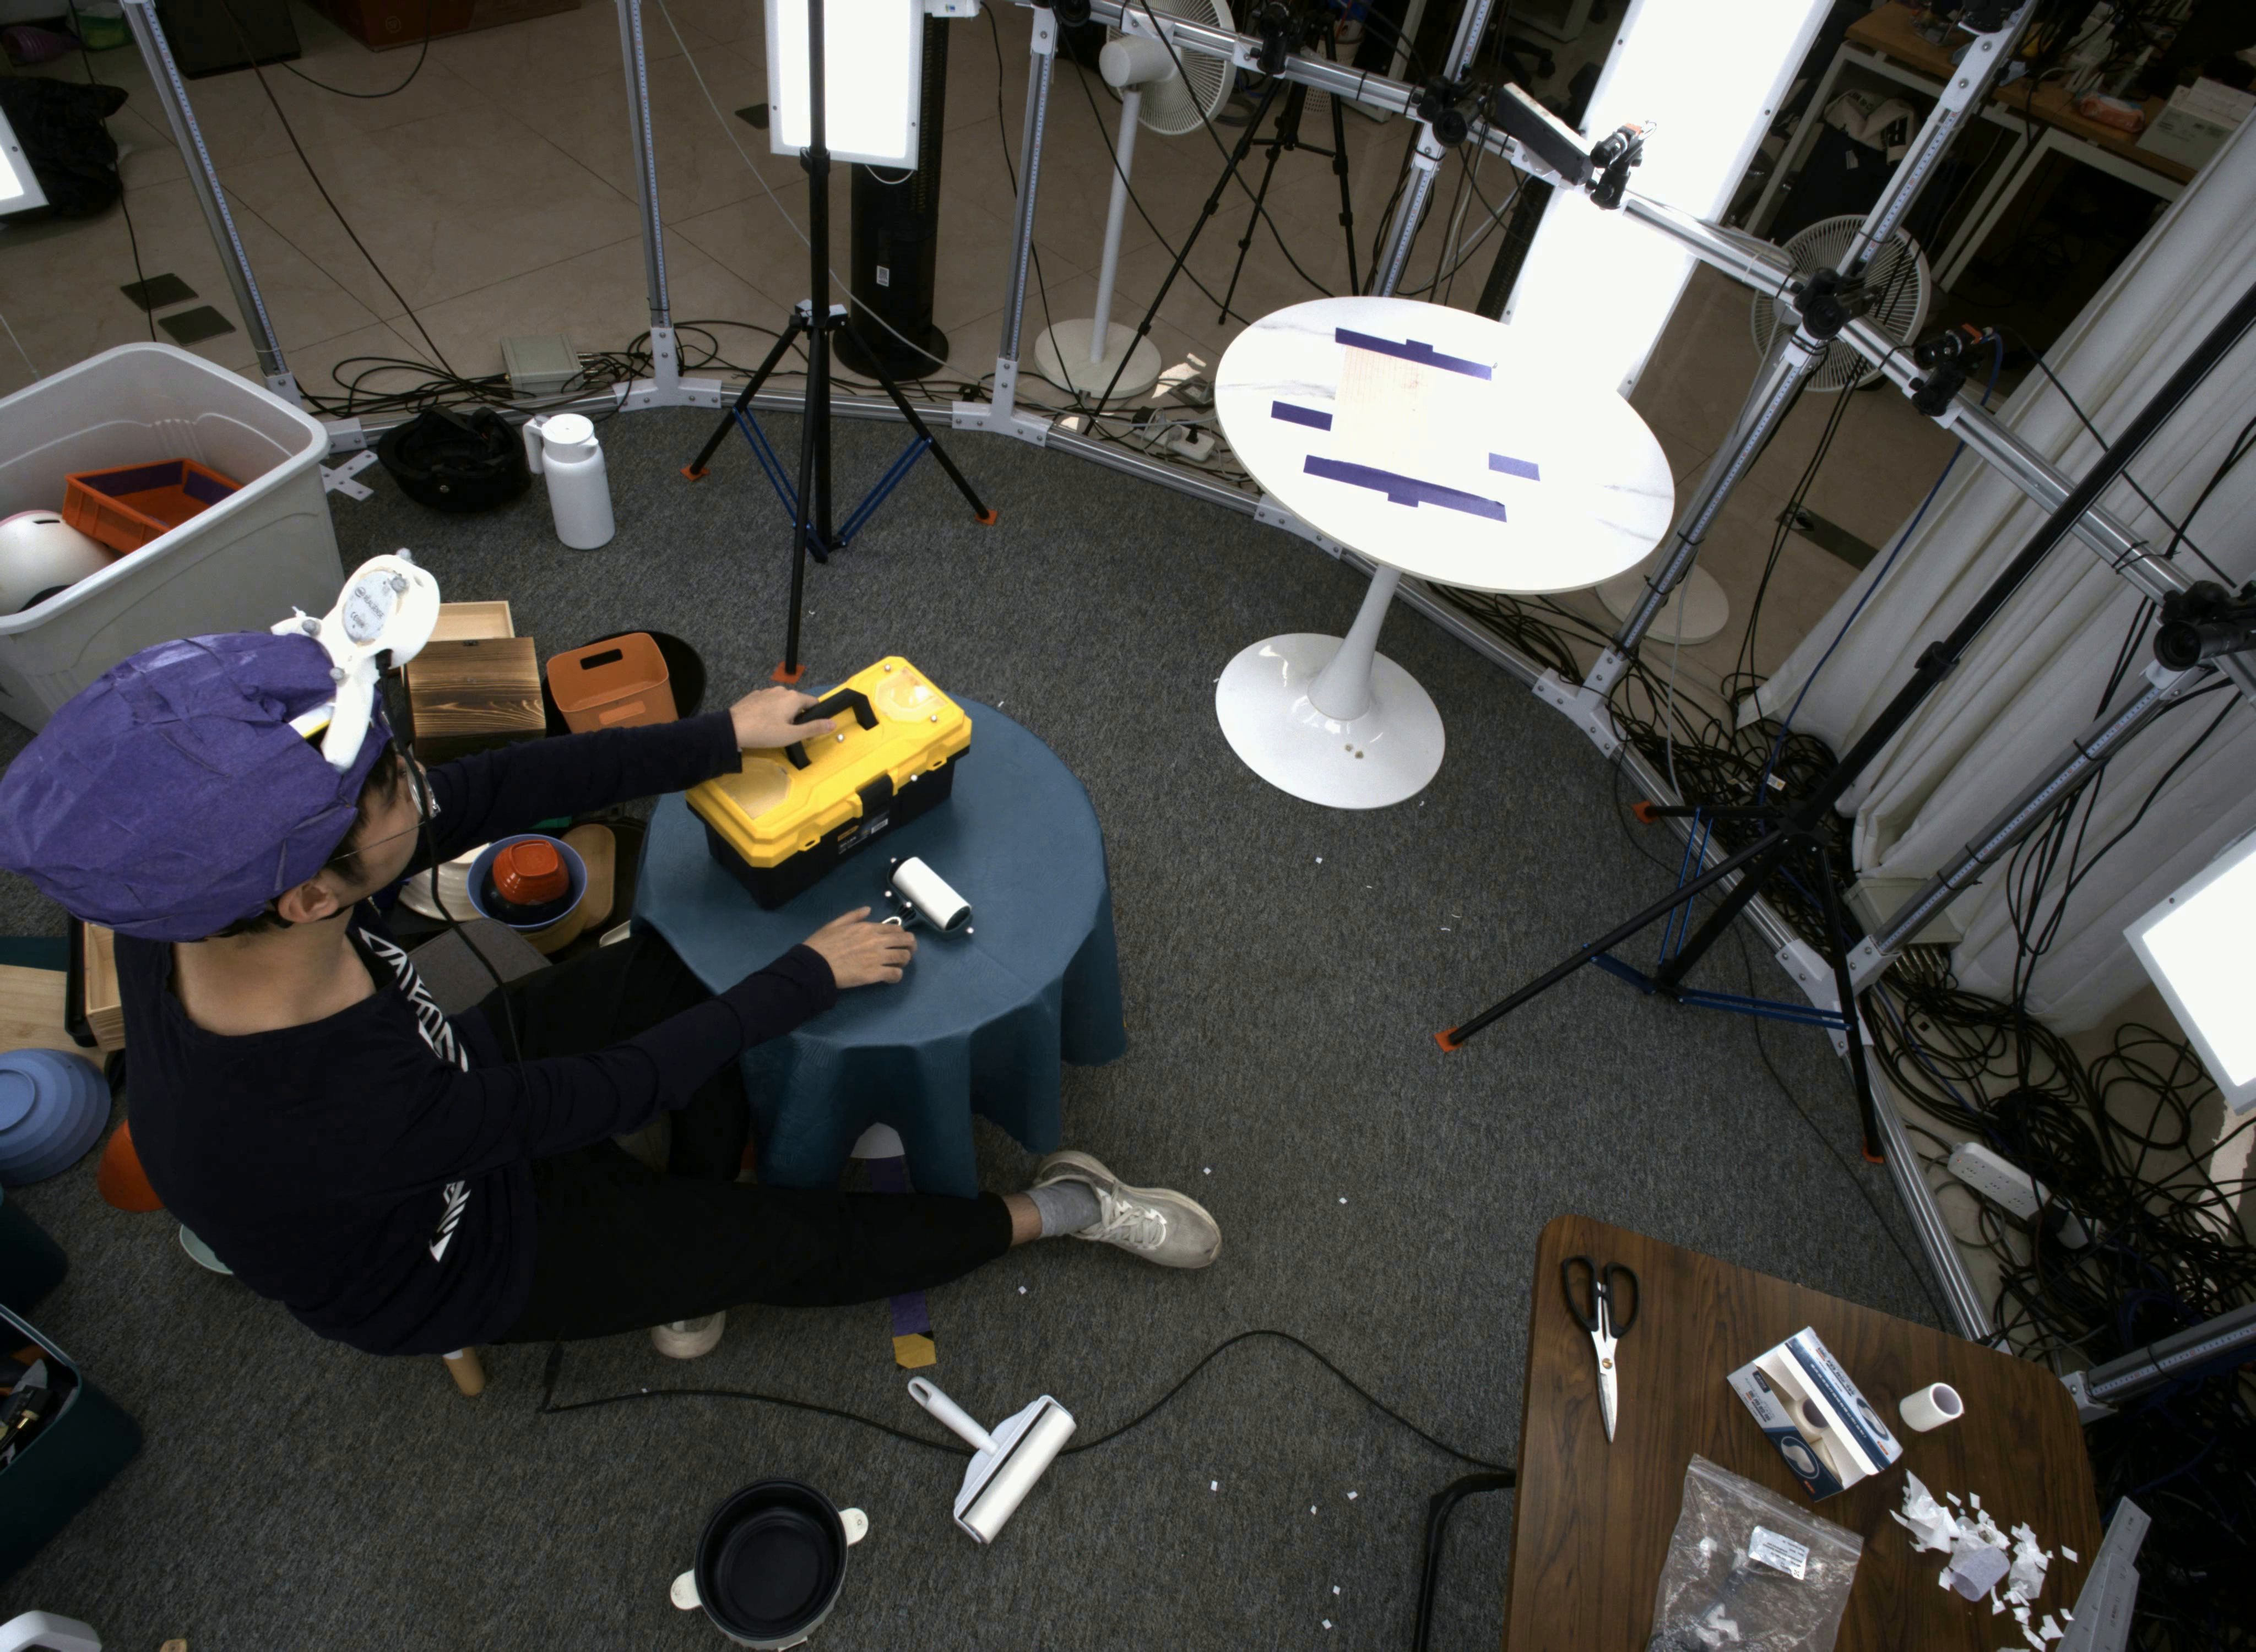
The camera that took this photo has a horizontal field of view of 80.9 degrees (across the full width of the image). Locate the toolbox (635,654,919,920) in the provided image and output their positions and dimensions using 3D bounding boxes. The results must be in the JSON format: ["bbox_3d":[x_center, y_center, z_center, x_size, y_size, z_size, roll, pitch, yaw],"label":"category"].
[{"bbox_3d":[-0.439,-0.050,1.657,0.177,0.176,0.352,38,55,17],"label":"toolbox"}]

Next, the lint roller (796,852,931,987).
[{"bbox_3d":[-0.350,0.129,1.633,0.132,0.049,0.180,39,59,14],"label":"lint roller"}]
